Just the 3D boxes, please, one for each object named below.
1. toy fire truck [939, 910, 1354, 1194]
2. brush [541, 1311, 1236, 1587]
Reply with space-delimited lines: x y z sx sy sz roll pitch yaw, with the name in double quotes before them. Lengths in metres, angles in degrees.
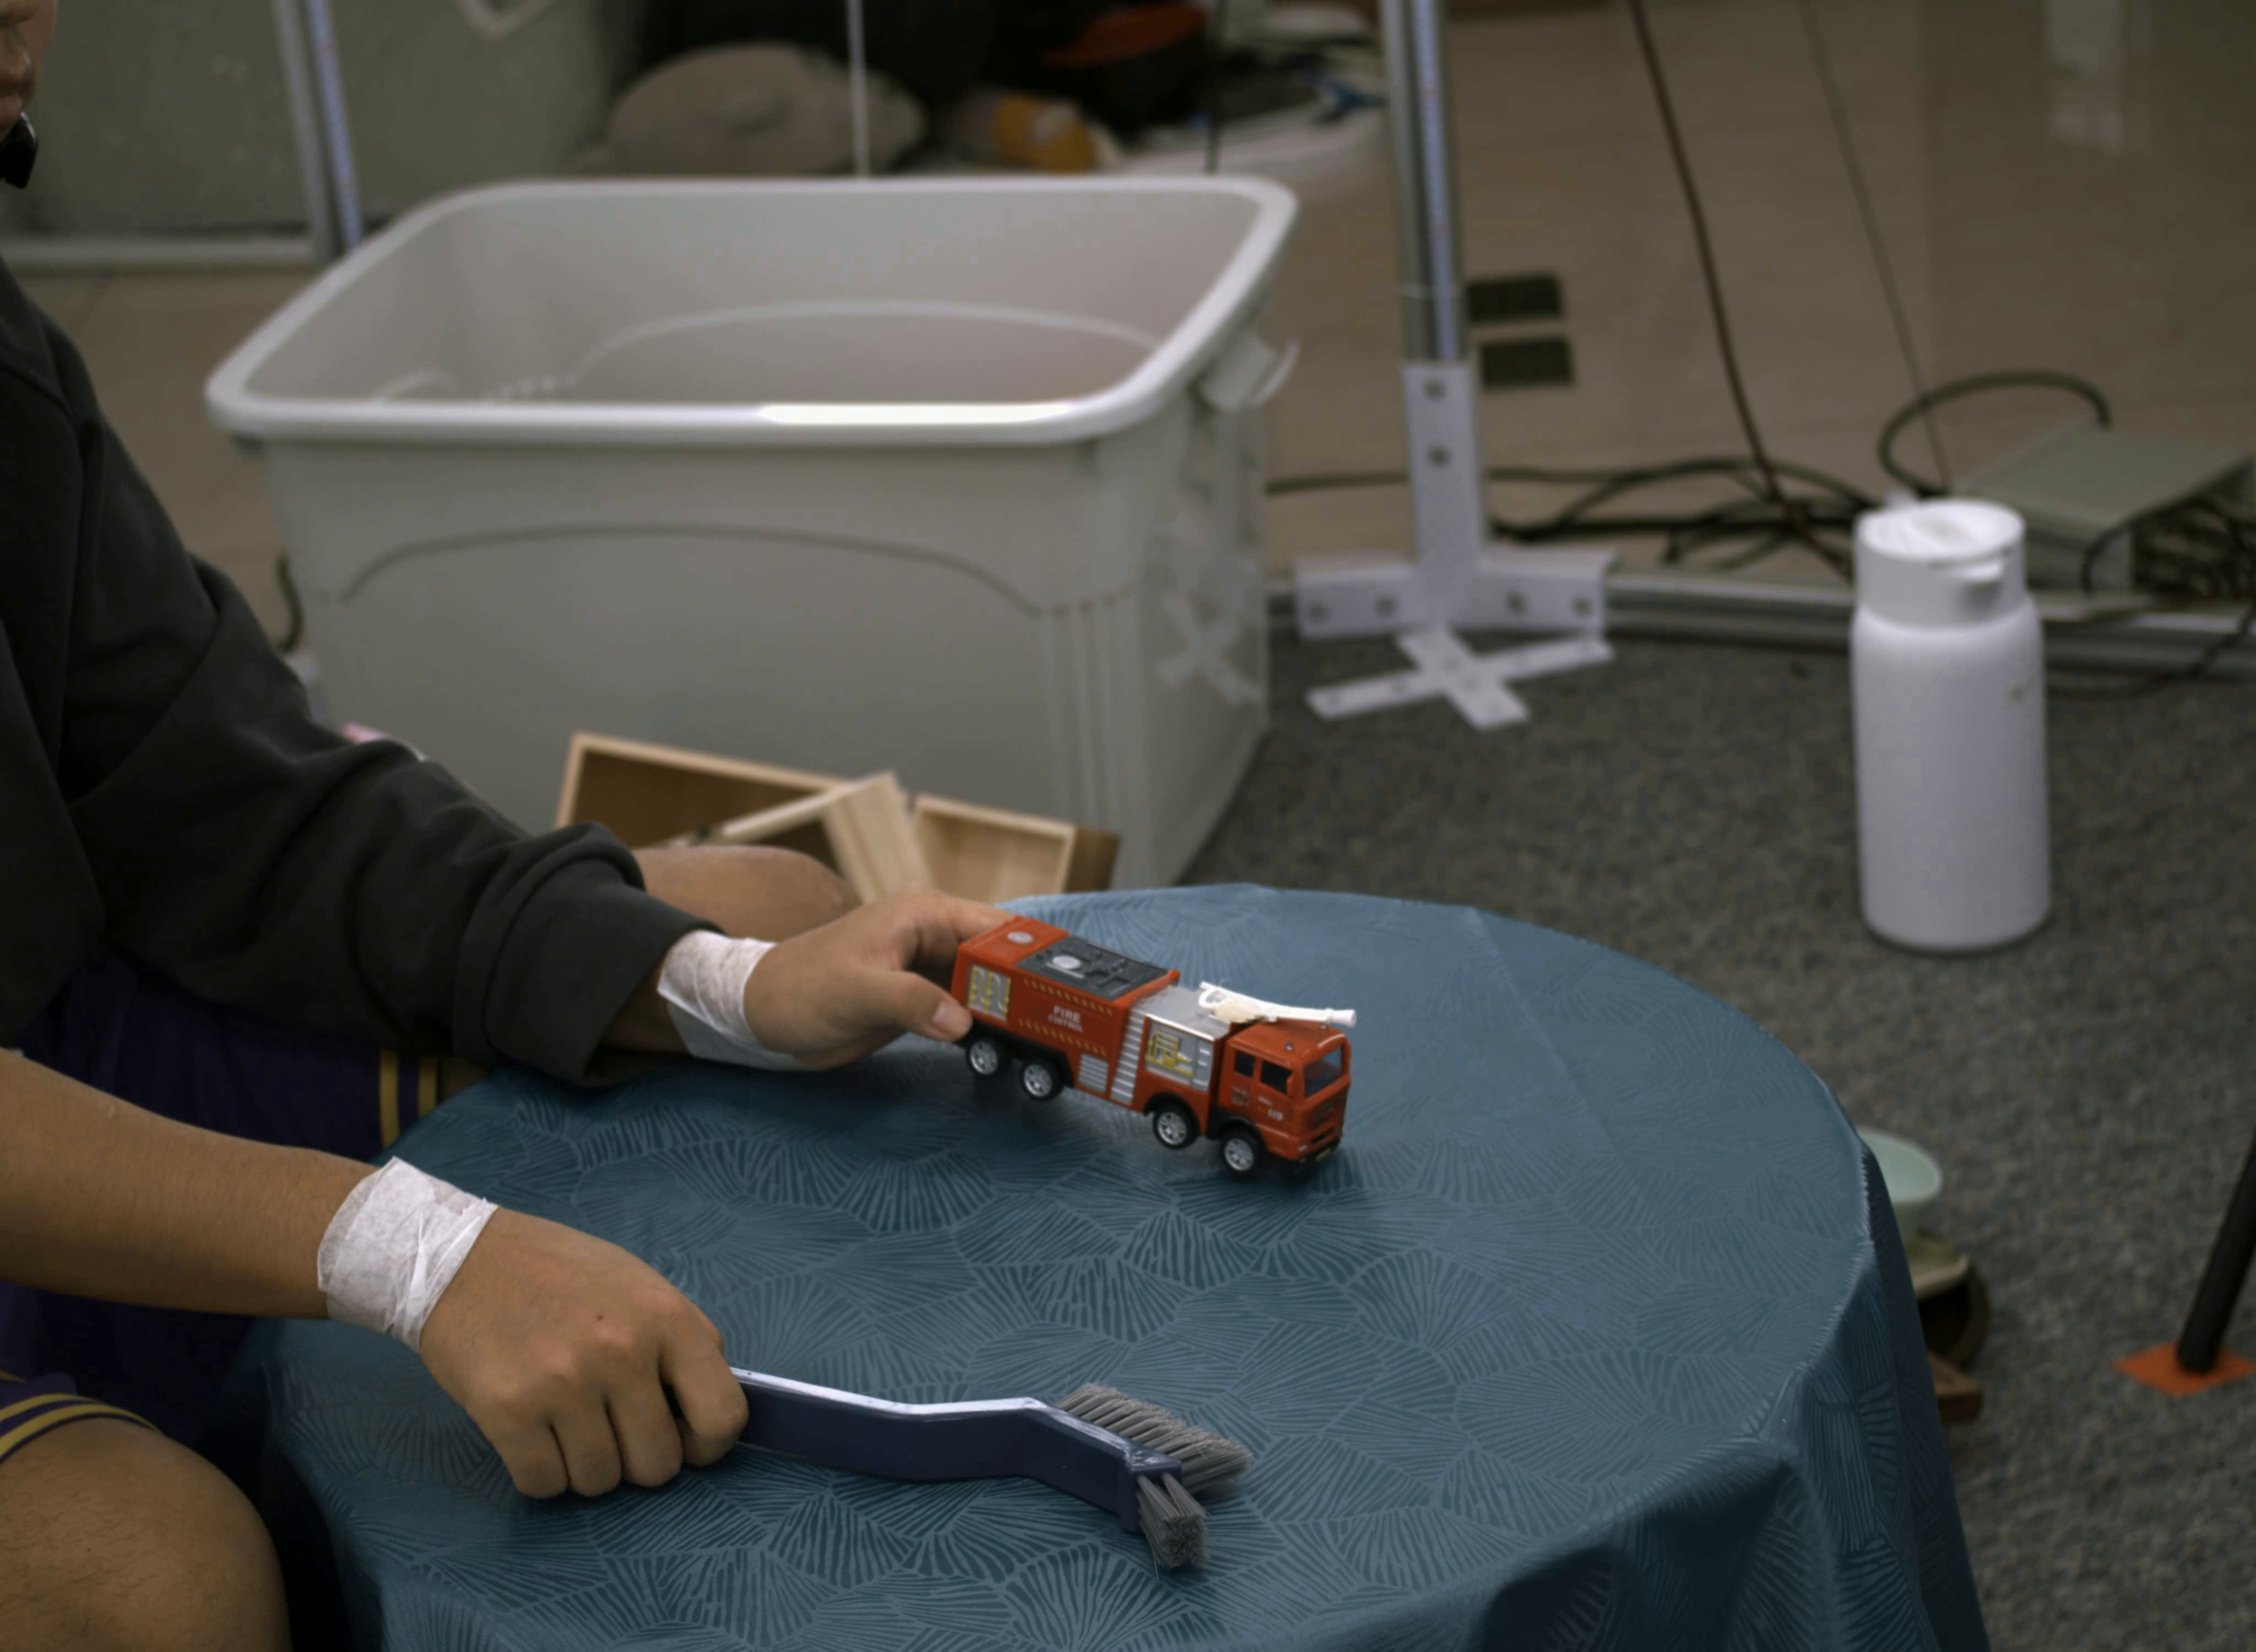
"toy fire truck" 0.009 0.084 2.167 0.167 0.071 0.053 18 26 26
"brush" -0.094 0.212 1.974 0.272 0.034 0.094 5 28 21
